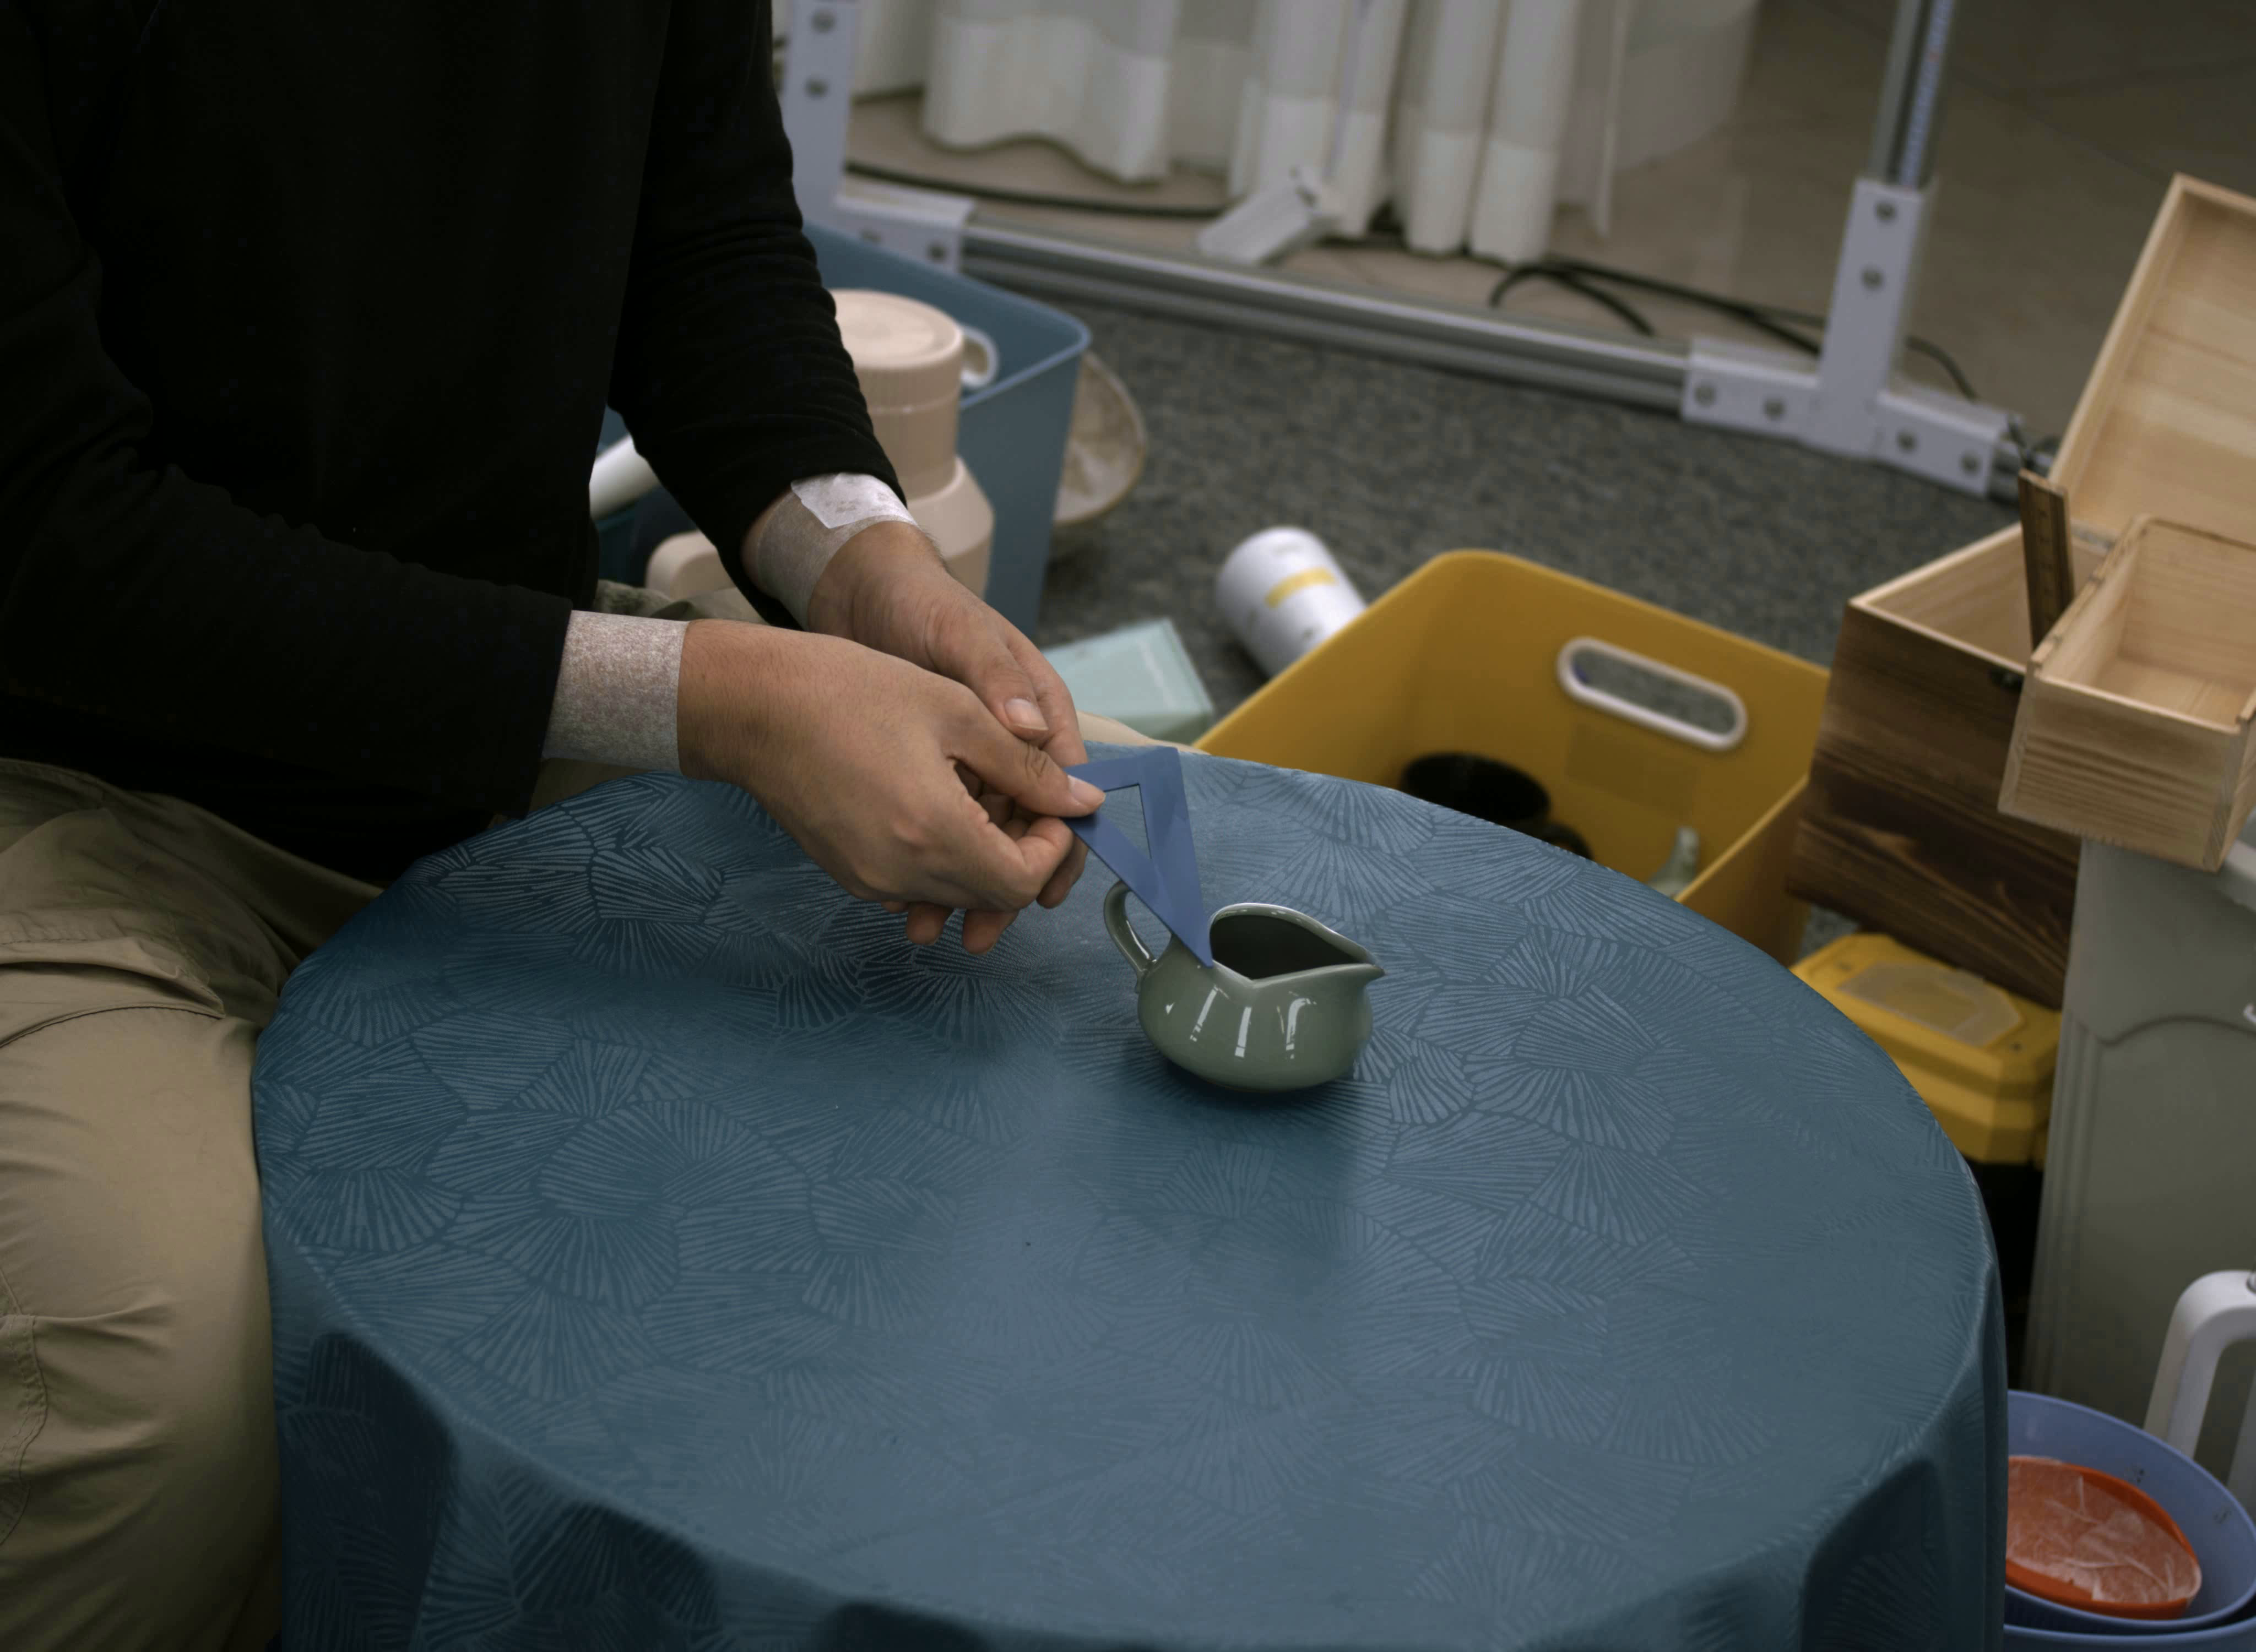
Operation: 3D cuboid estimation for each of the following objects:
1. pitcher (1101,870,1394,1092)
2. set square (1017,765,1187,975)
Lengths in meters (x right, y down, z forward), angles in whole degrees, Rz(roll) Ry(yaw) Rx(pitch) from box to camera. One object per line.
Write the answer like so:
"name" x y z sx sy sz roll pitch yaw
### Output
"pitcher" 0.040 0.055 1.883 0.113 0.056 0.084 19 27 23
"set square" -0.010 0.010 1.889 0.061 0.006 0.133 10 33 -8
